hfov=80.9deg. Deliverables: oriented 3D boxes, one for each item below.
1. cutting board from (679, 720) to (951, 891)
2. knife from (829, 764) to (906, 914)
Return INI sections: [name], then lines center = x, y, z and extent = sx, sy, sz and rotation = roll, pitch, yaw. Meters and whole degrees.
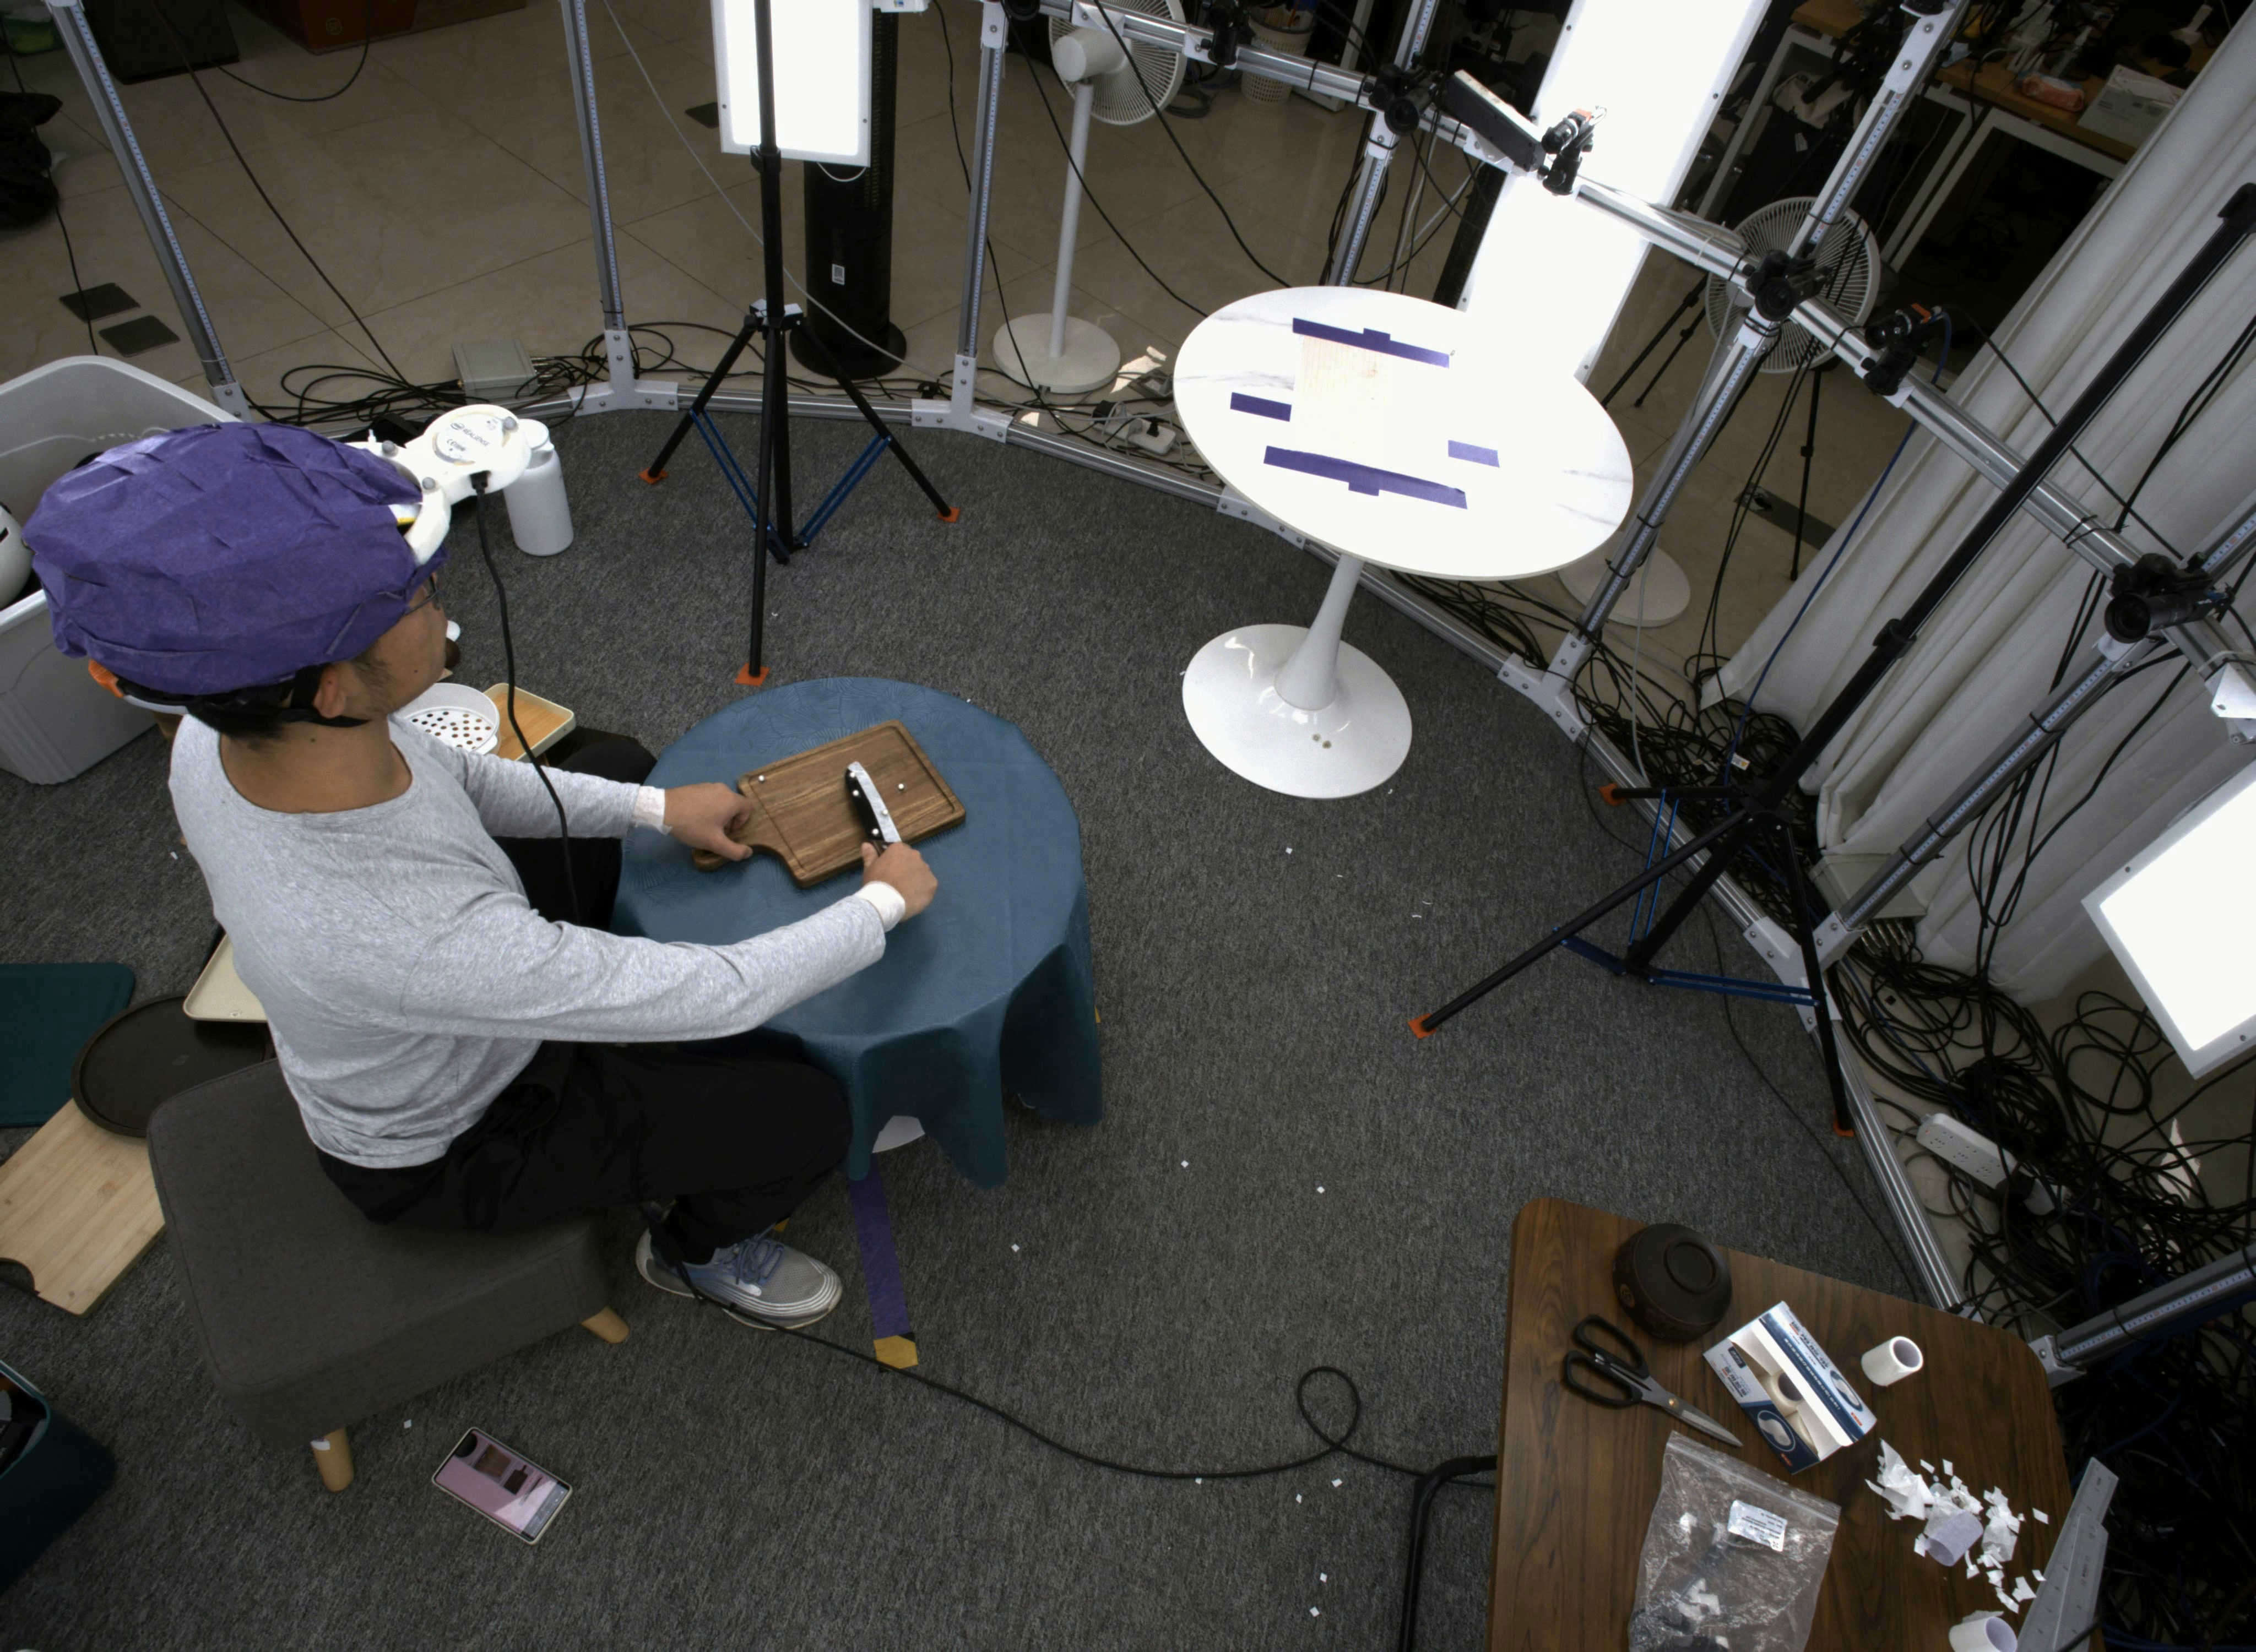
[cutting board]
center = -0.432, -0.016, 1.729
extent = 0.354, 0.023, 0.196
rotation = -26, 63, -30
[knife]
center = -0.341, 0.009, 1.695
extent = 0.051, 0.020, 0.280
rotation = 4, 41, -35
